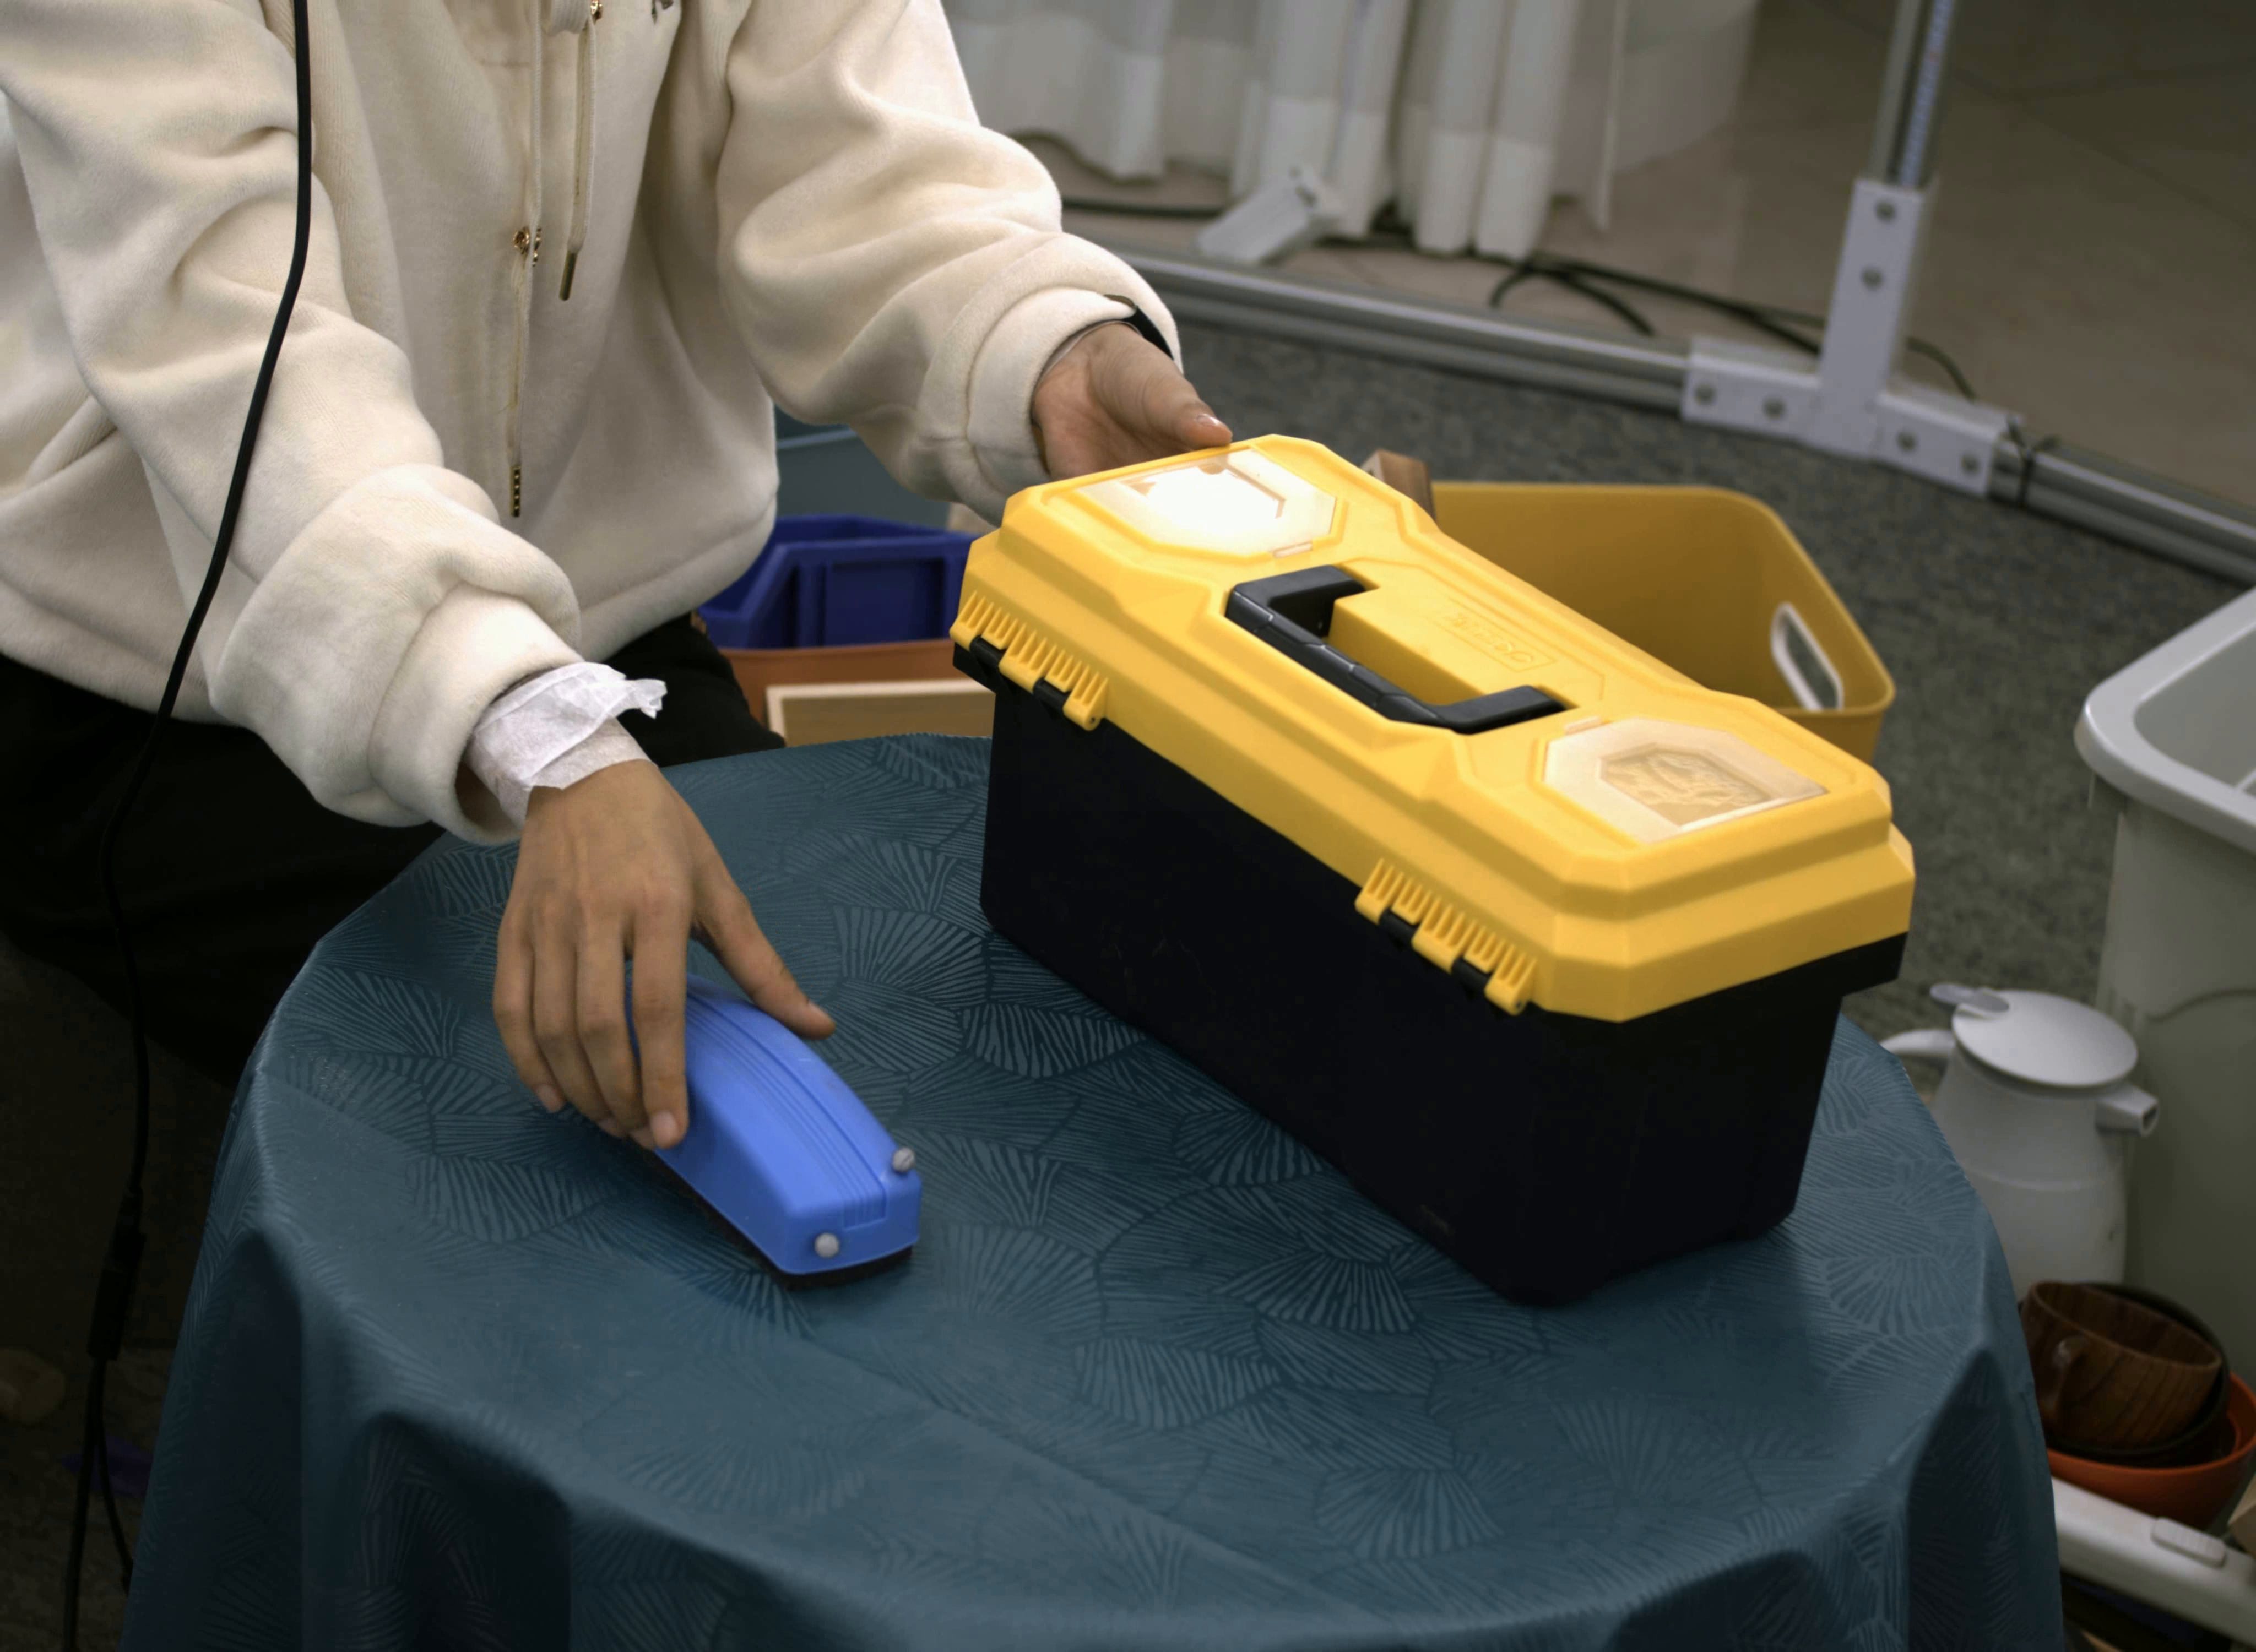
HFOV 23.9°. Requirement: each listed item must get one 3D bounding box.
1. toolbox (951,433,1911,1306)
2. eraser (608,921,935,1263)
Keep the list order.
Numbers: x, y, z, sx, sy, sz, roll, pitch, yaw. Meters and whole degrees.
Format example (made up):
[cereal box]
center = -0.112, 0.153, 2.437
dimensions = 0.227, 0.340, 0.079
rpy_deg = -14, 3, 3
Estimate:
[toolbox]
center = 0.096, 0.008, 1.859
dimensions = 0.180, 0.172, 0.354
rpy_deg = -15, 34, -35
[eraser]
center = -0.122, 0.083, 1.788
dimensions = 0.053, 0.047, 0.164
rpy_deg = -16, 36, -23
